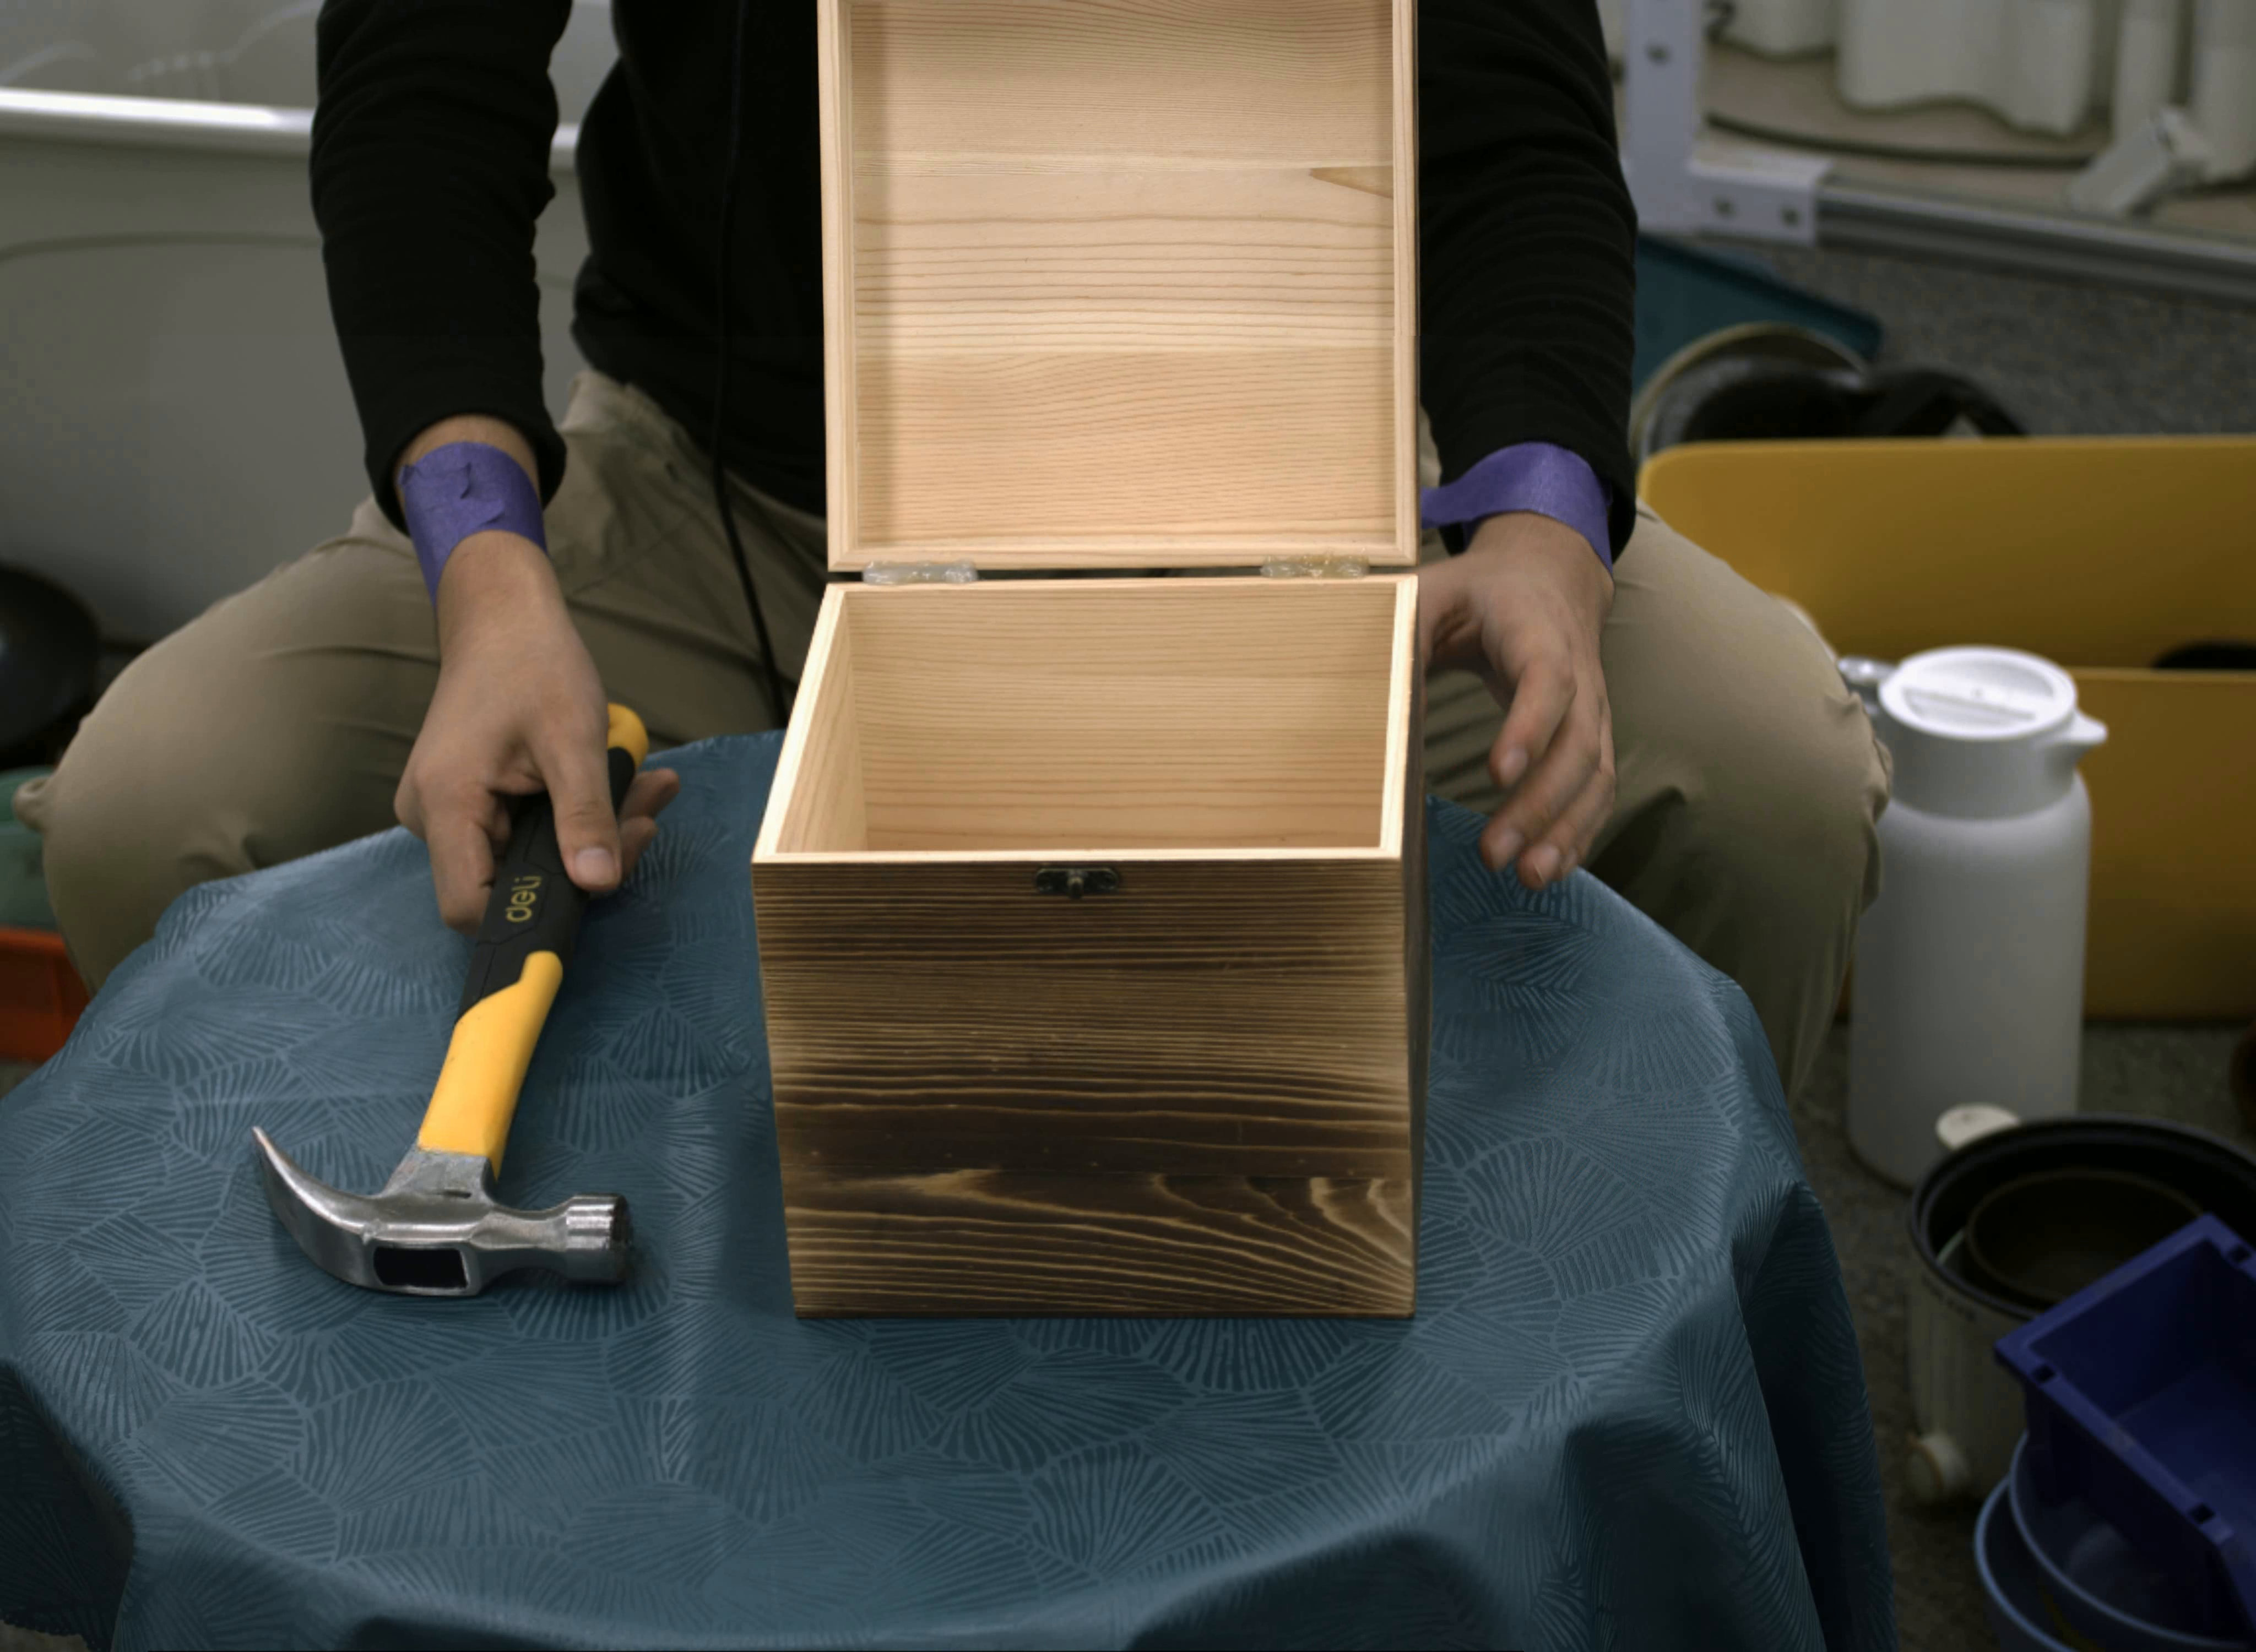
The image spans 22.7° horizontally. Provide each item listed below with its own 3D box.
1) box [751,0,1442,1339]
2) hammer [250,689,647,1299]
[{"bbox_3d":[-0.007,-0.071,1.849,0.207,0.372,0.327,-1,25,5],"label":"box"},{"bbox_3d":[-0.214,0.050,1.954,0.130,0.032,0.345,0,33,7],"label":"hammer"}]
